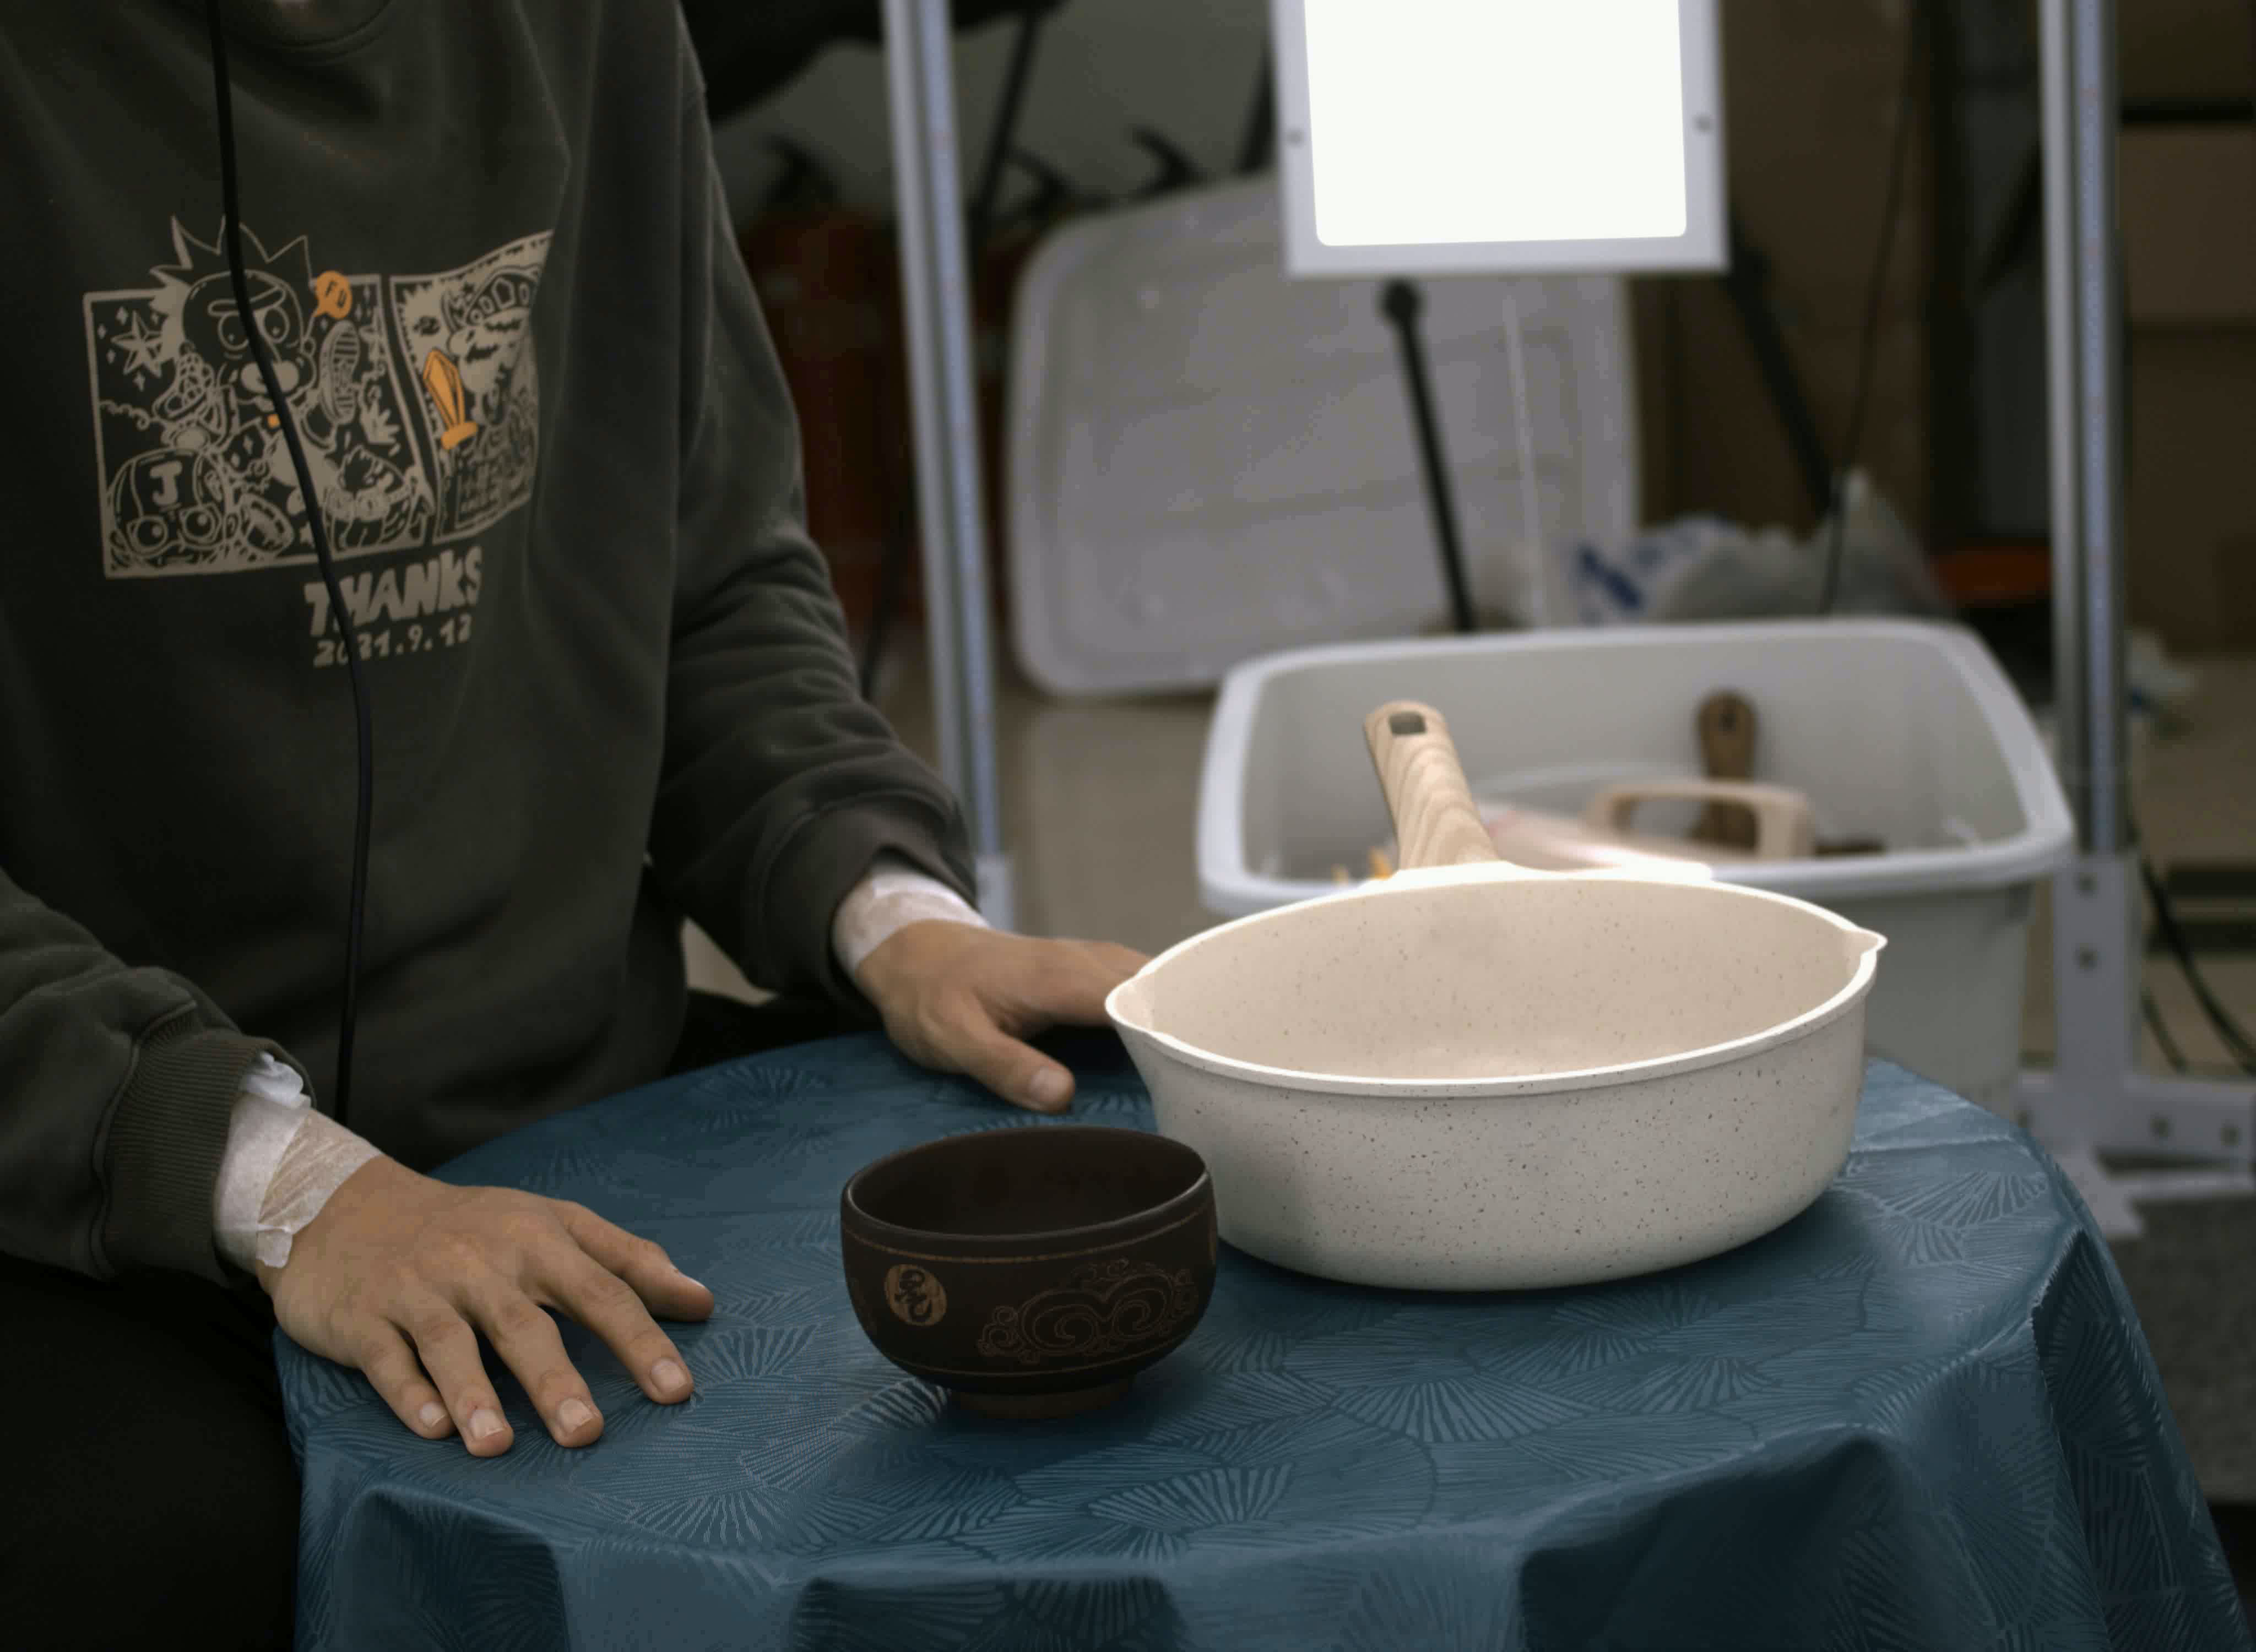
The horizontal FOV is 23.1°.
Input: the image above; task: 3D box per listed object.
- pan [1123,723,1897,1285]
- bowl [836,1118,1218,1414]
[{"bbox_3d":[0.126,0.057,1.926,0.262,0.102,0.435,-7,13,-1],"label":"pan"},{"bbox_3d":[-0.029,0.140,1.702,0.118,0.070,0.118,-6,14,0],"label":"bowl"}]
